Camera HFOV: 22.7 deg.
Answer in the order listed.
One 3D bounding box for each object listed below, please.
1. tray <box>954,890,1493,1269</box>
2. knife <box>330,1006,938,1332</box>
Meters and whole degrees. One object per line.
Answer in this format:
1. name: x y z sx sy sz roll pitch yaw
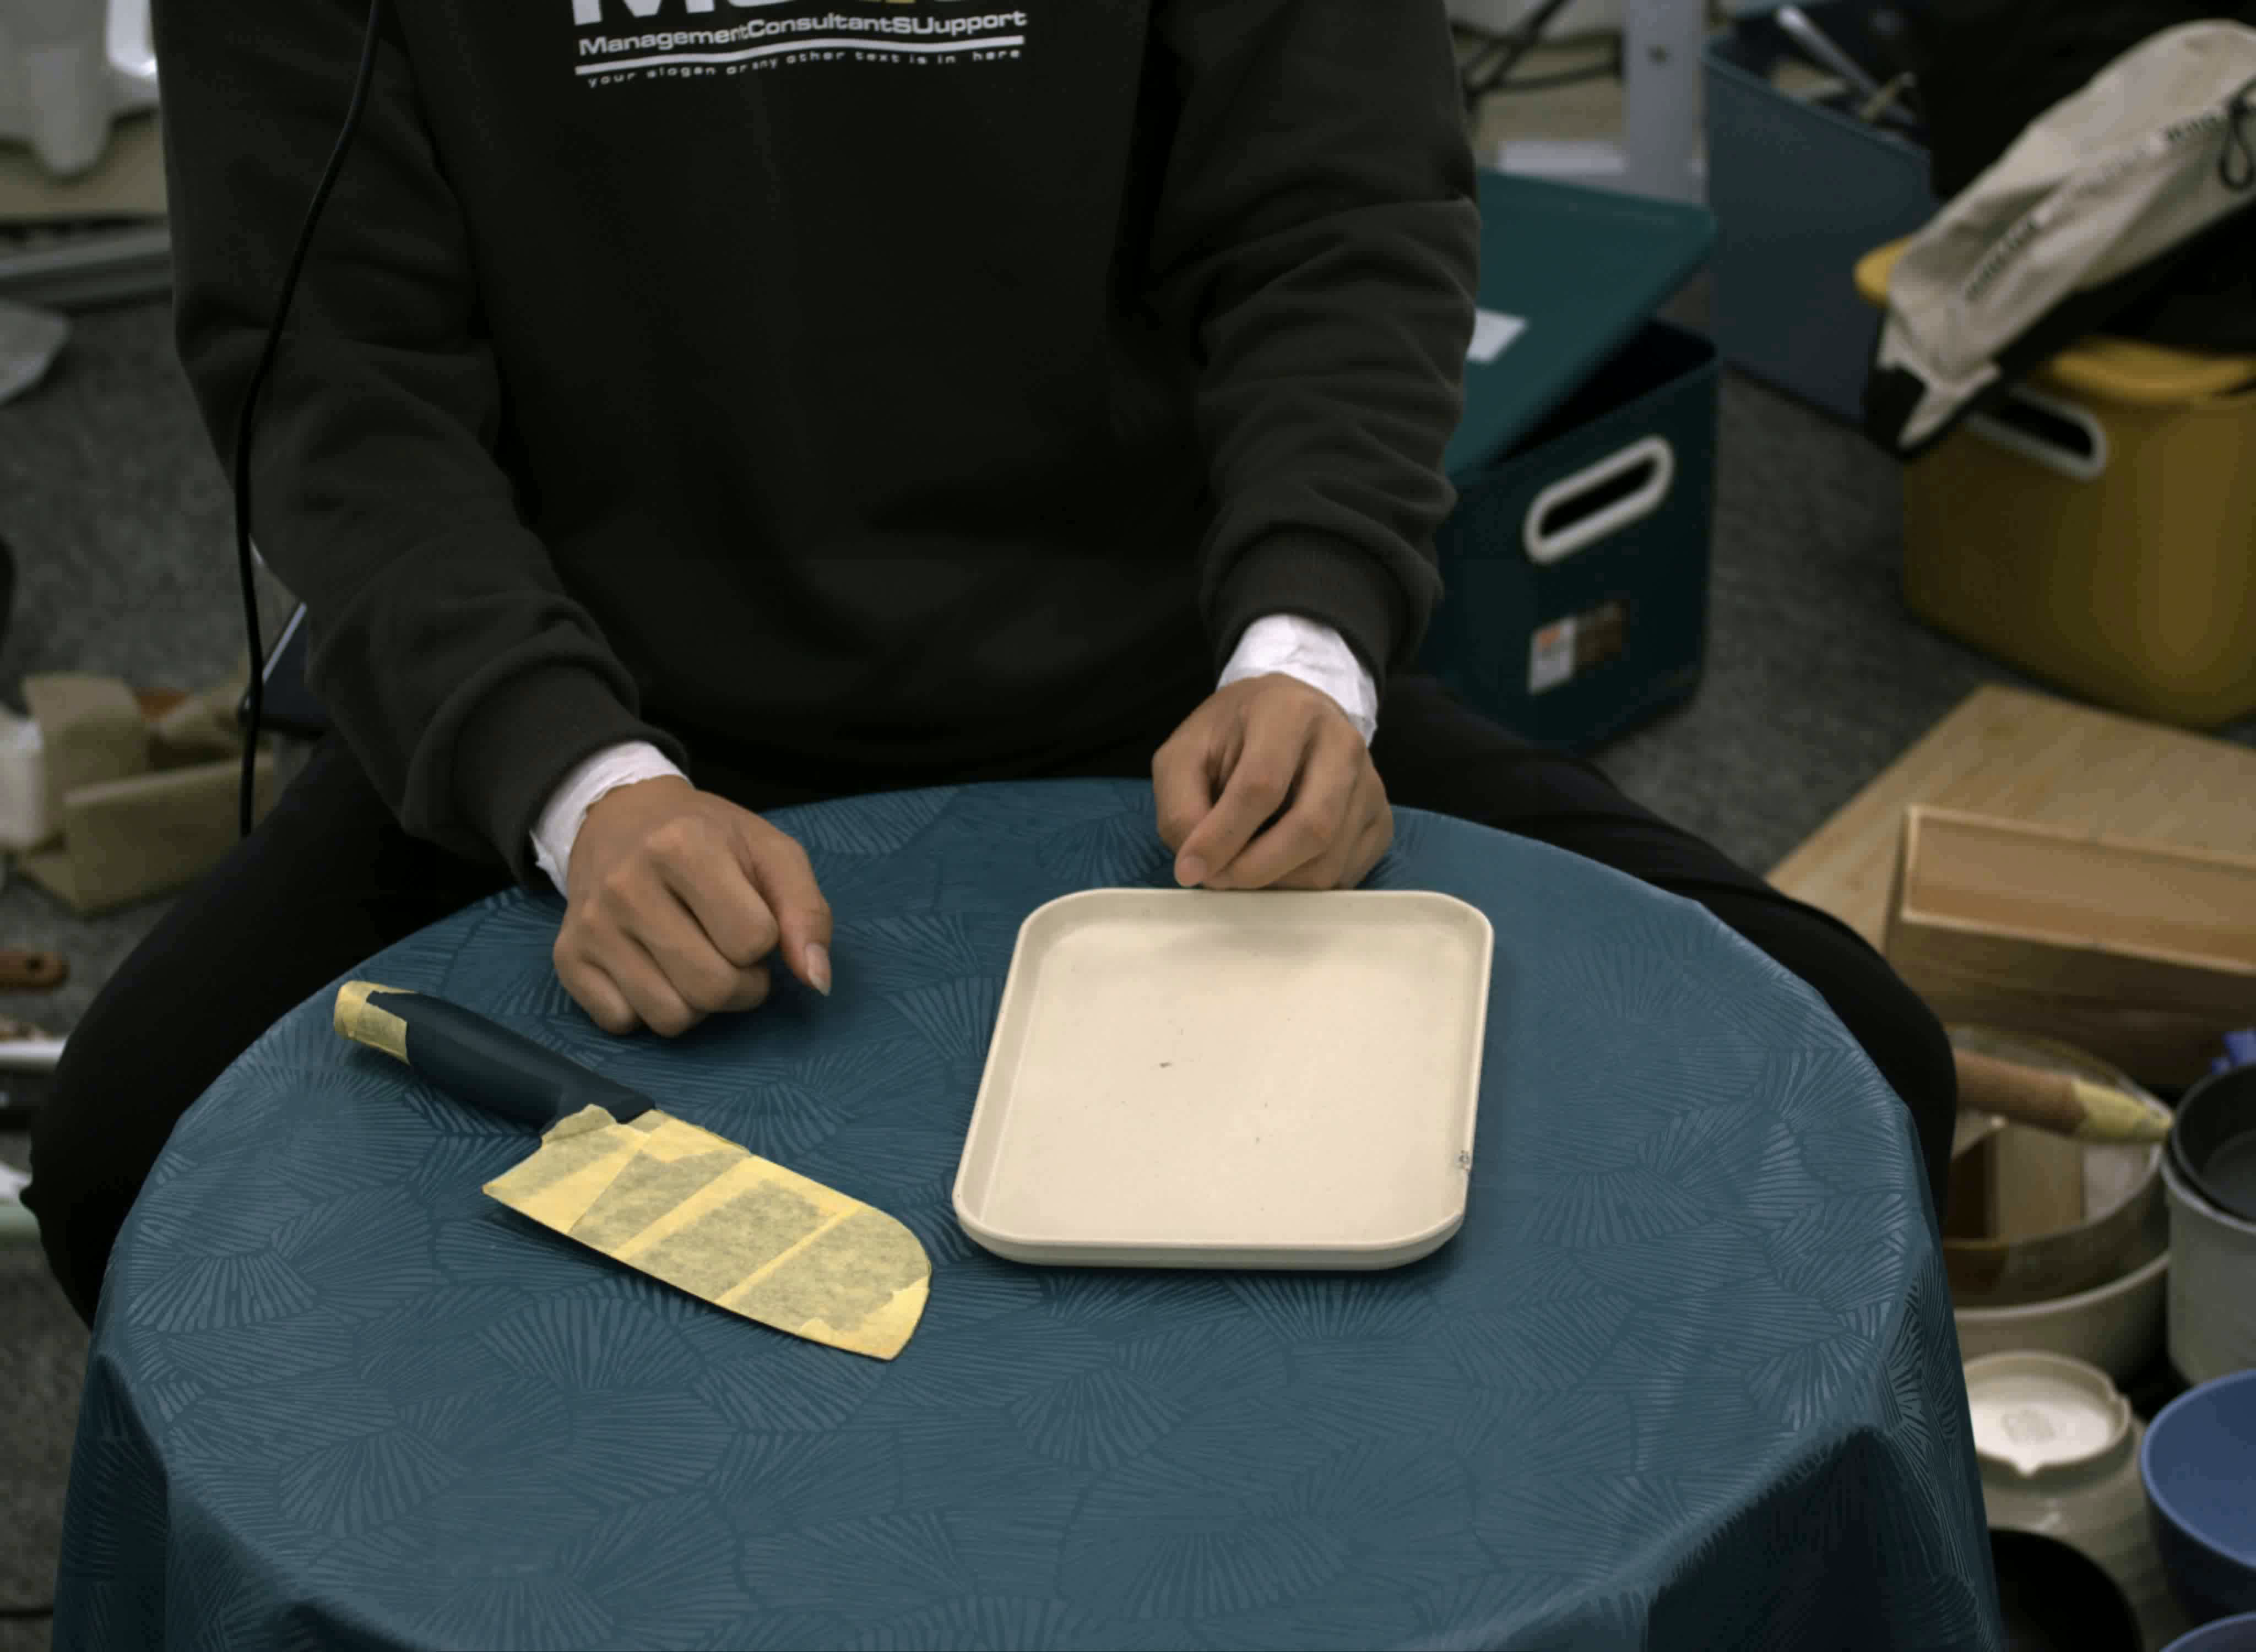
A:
1. tray: 0.036 0.085 1.909 0.170 0.017 0.243 0 27 7
2. knife: -0.174 0.116 1.874 0.289 0.027 0.082 21 34 37
